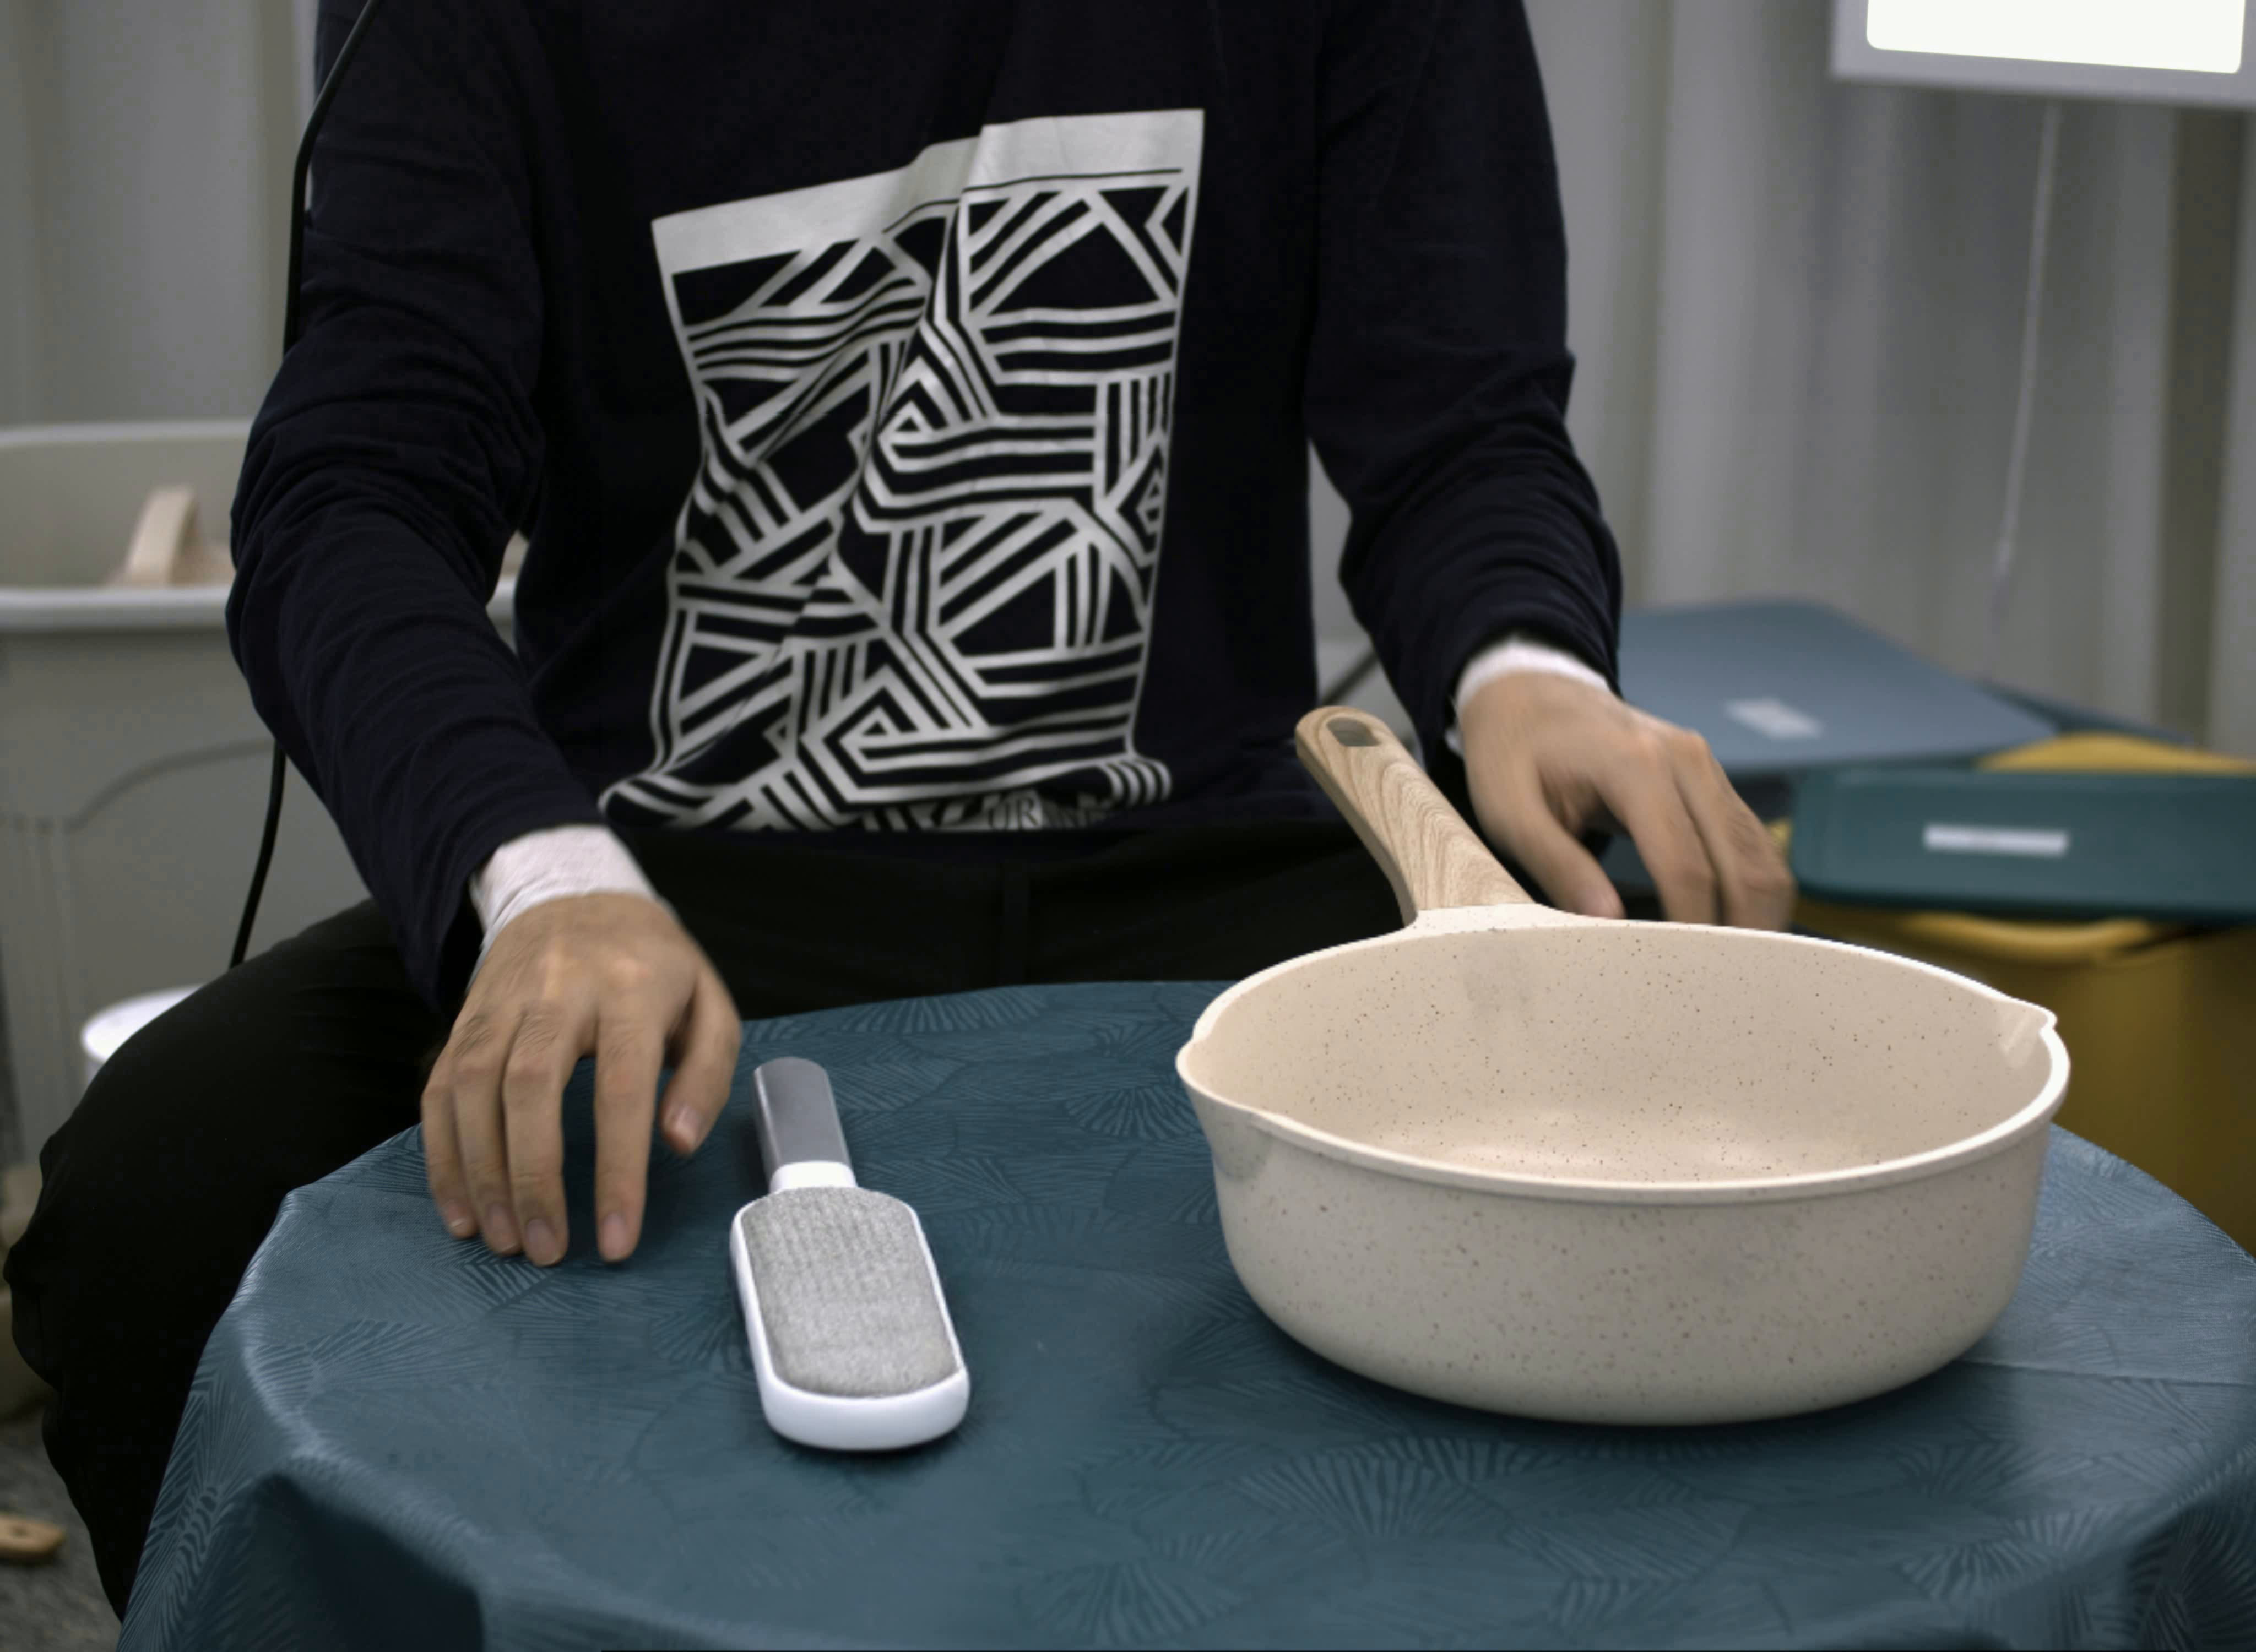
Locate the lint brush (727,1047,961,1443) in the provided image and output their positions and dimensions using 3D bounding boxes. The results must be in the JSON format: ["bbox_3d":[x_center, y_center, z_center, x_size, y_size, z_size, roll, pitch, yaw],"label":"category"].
[{"bbox_3d":[-0.088,0.118,1.548,0.060,0.021,0.306,-6,16,-6],"label":"lint brush"}]

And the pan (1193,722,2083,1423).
[{"bbox_3d":[0.125,0.069,1.602,0.263,0.103,0.430,-6,17,-13],"label":"pan"}]
